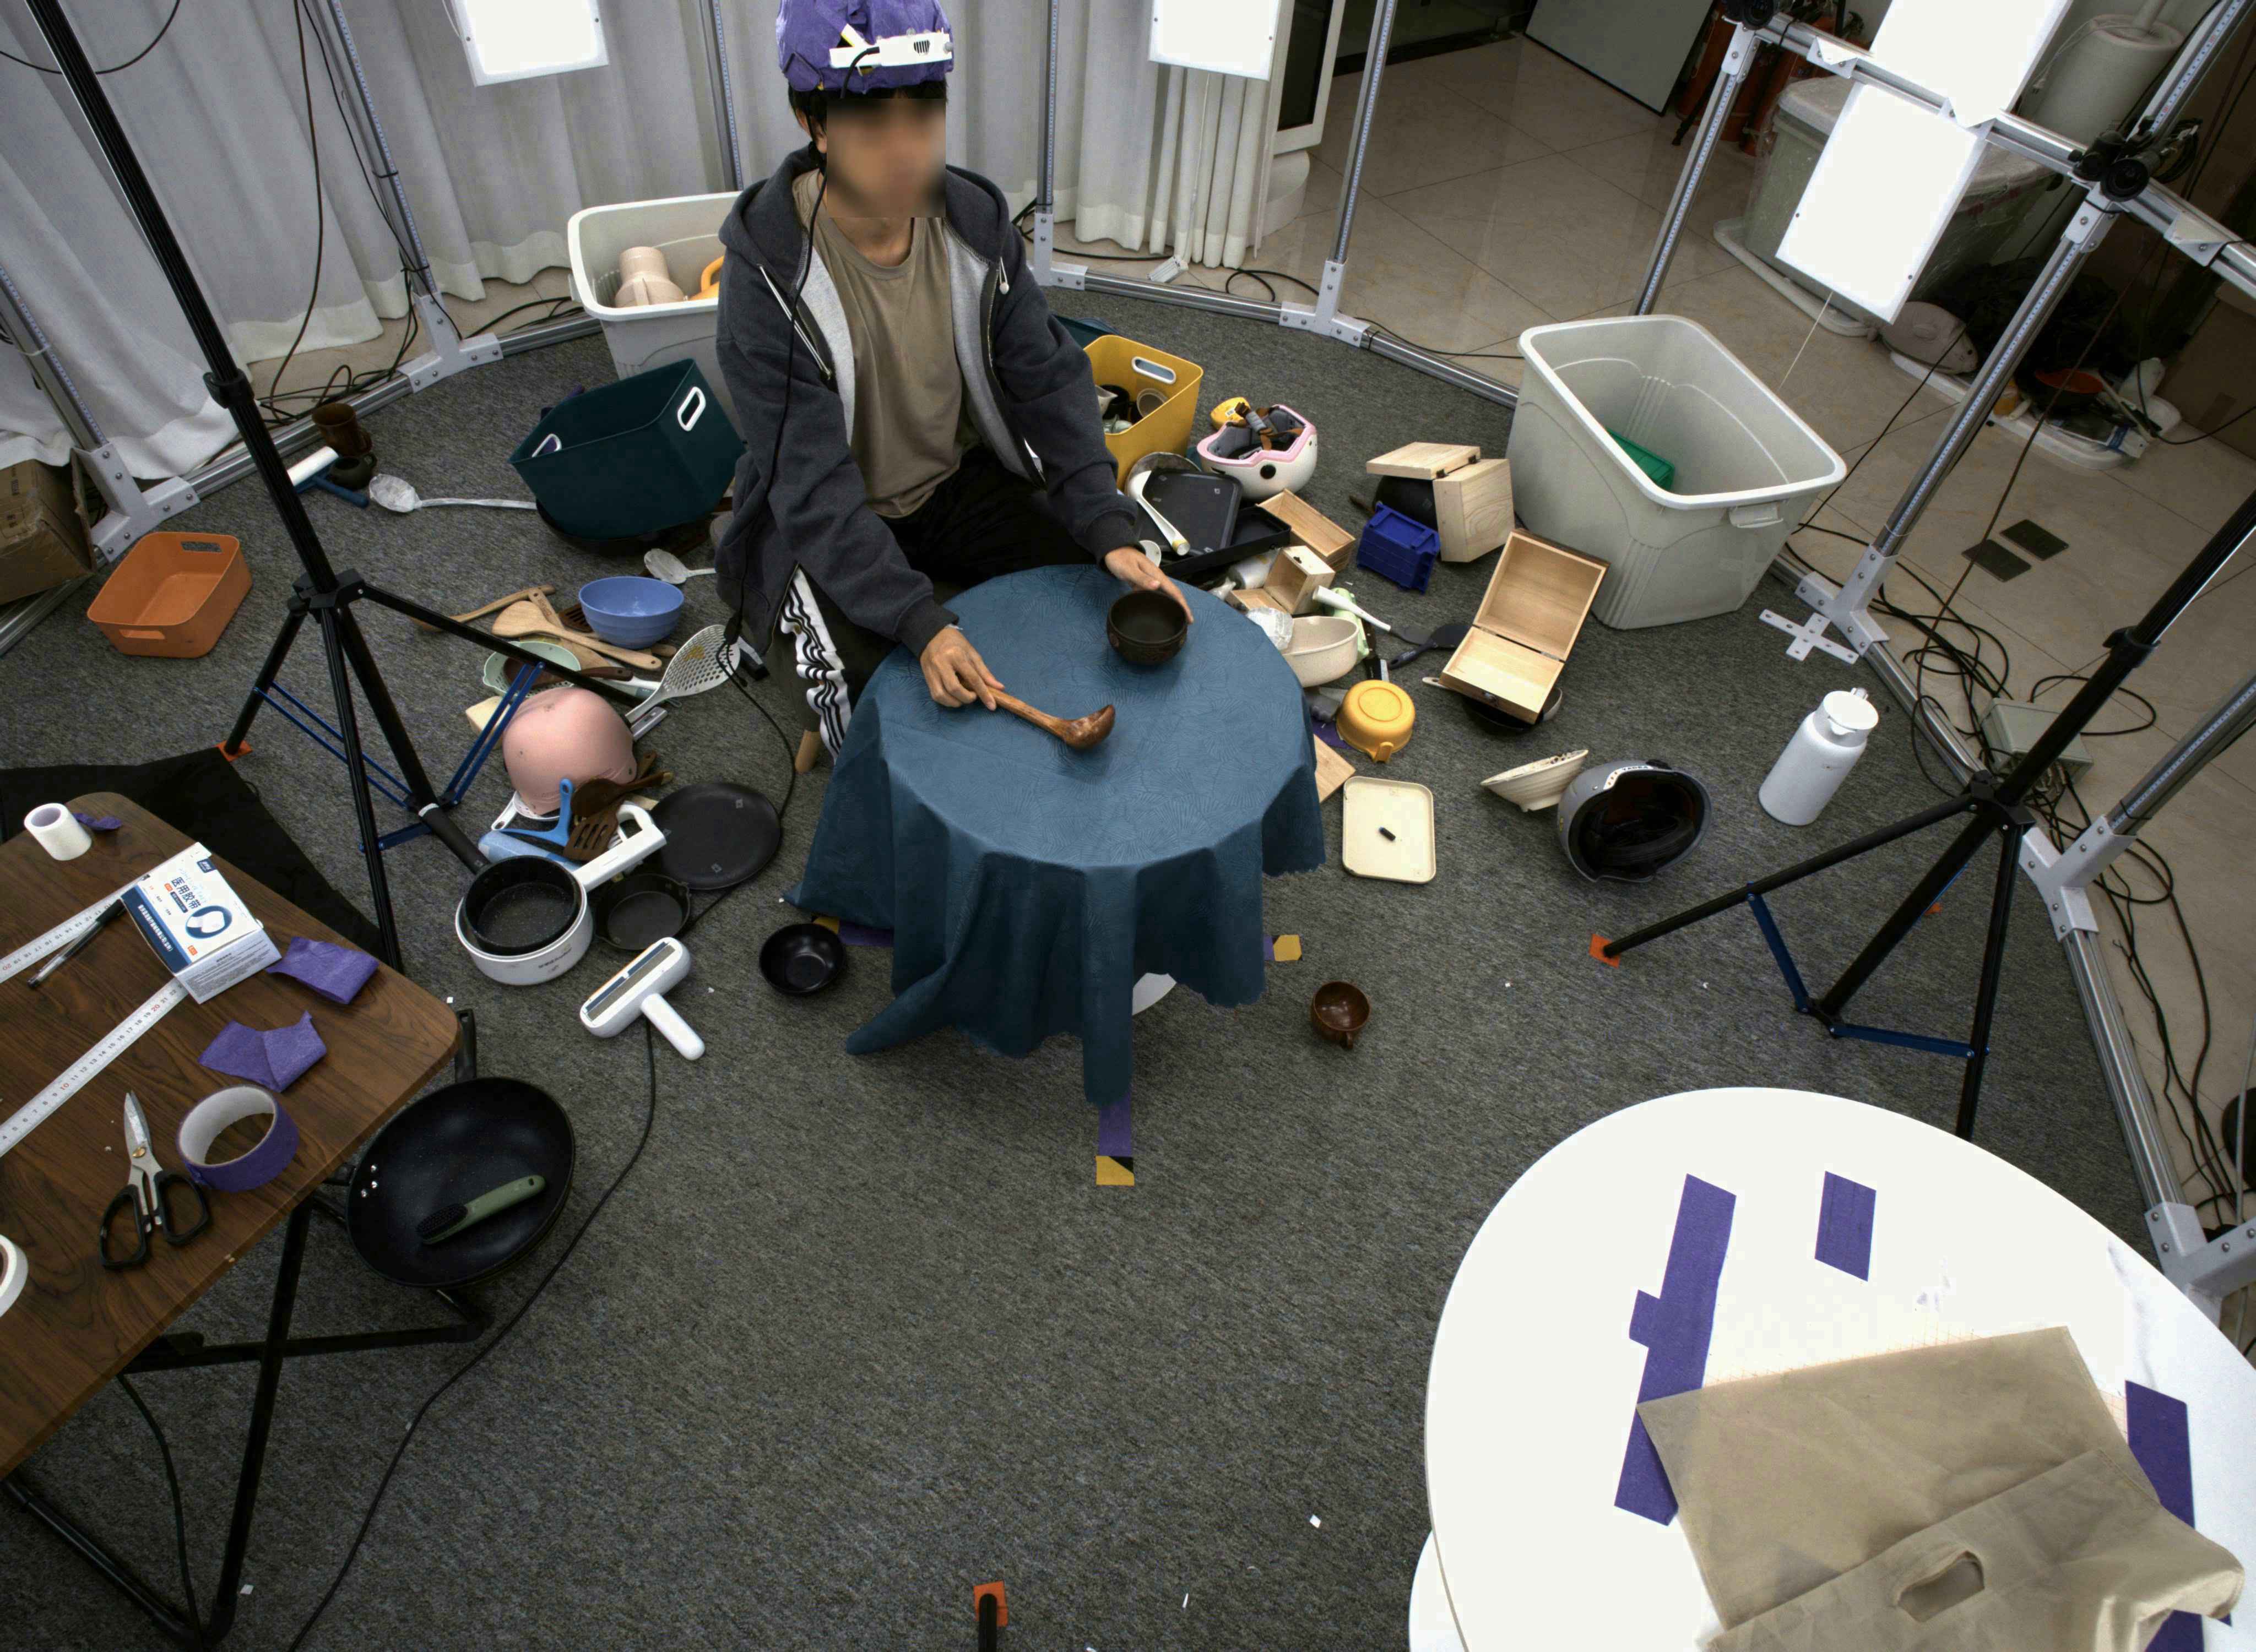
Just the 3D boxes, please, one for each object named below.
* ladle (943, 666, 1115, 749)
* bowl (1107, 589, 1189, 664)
[{"bbox_3d":[-0.141,-0.180,1.762,0.276,0.075,0.083,28,47,19],"label":"ladle"},{"bbox_3d":[0.028,-0.281,1.865,0.118,0.068,0.121,2,50,-2],"label":"bowl"}]
